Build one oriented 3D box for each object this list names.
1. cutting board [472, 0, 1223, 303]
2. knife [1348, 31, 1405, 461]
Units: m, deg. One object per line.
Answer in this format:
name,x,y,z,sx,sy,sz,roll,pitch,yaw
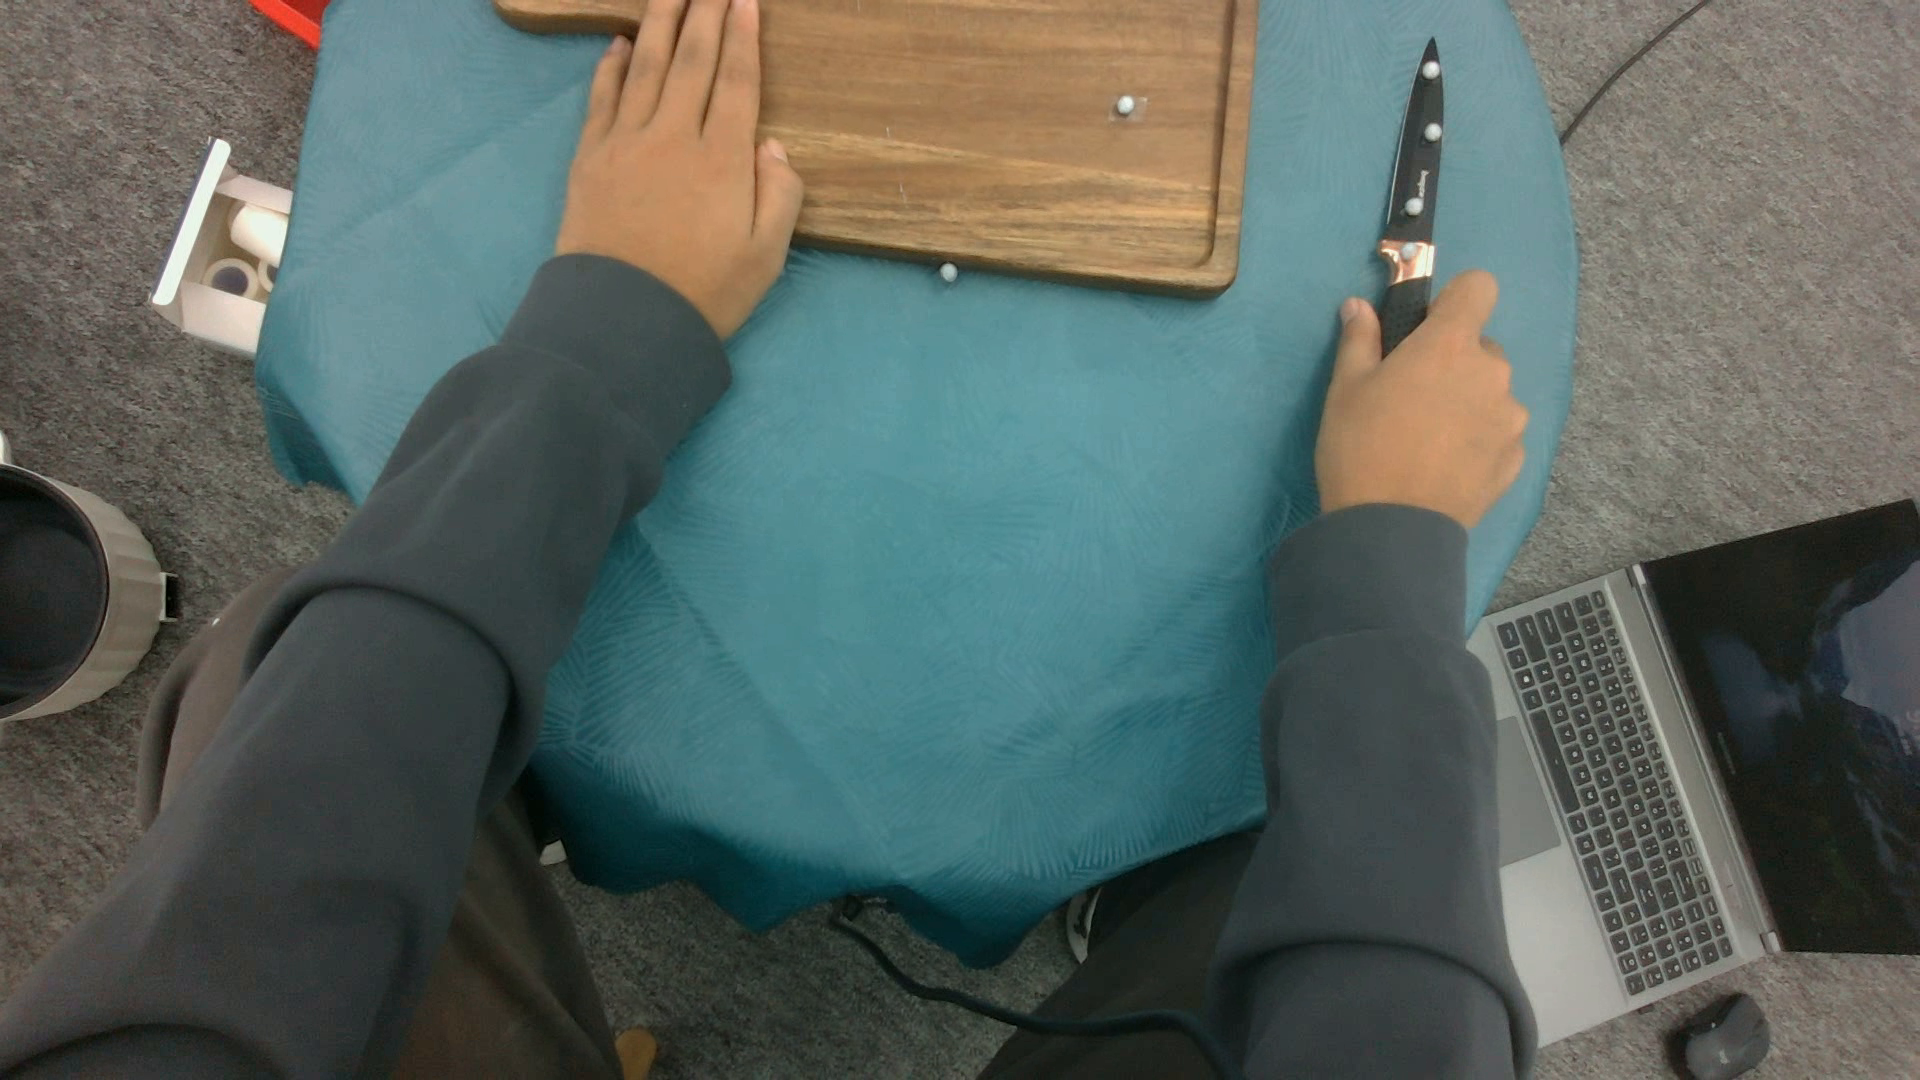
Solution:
cutting board,-0.047,-0.219,0.652,0.352,0.023,0.201,3,82,-6
knife,0.205,-0.148,0.677,0.026,0.017,0.226,4,79,12
